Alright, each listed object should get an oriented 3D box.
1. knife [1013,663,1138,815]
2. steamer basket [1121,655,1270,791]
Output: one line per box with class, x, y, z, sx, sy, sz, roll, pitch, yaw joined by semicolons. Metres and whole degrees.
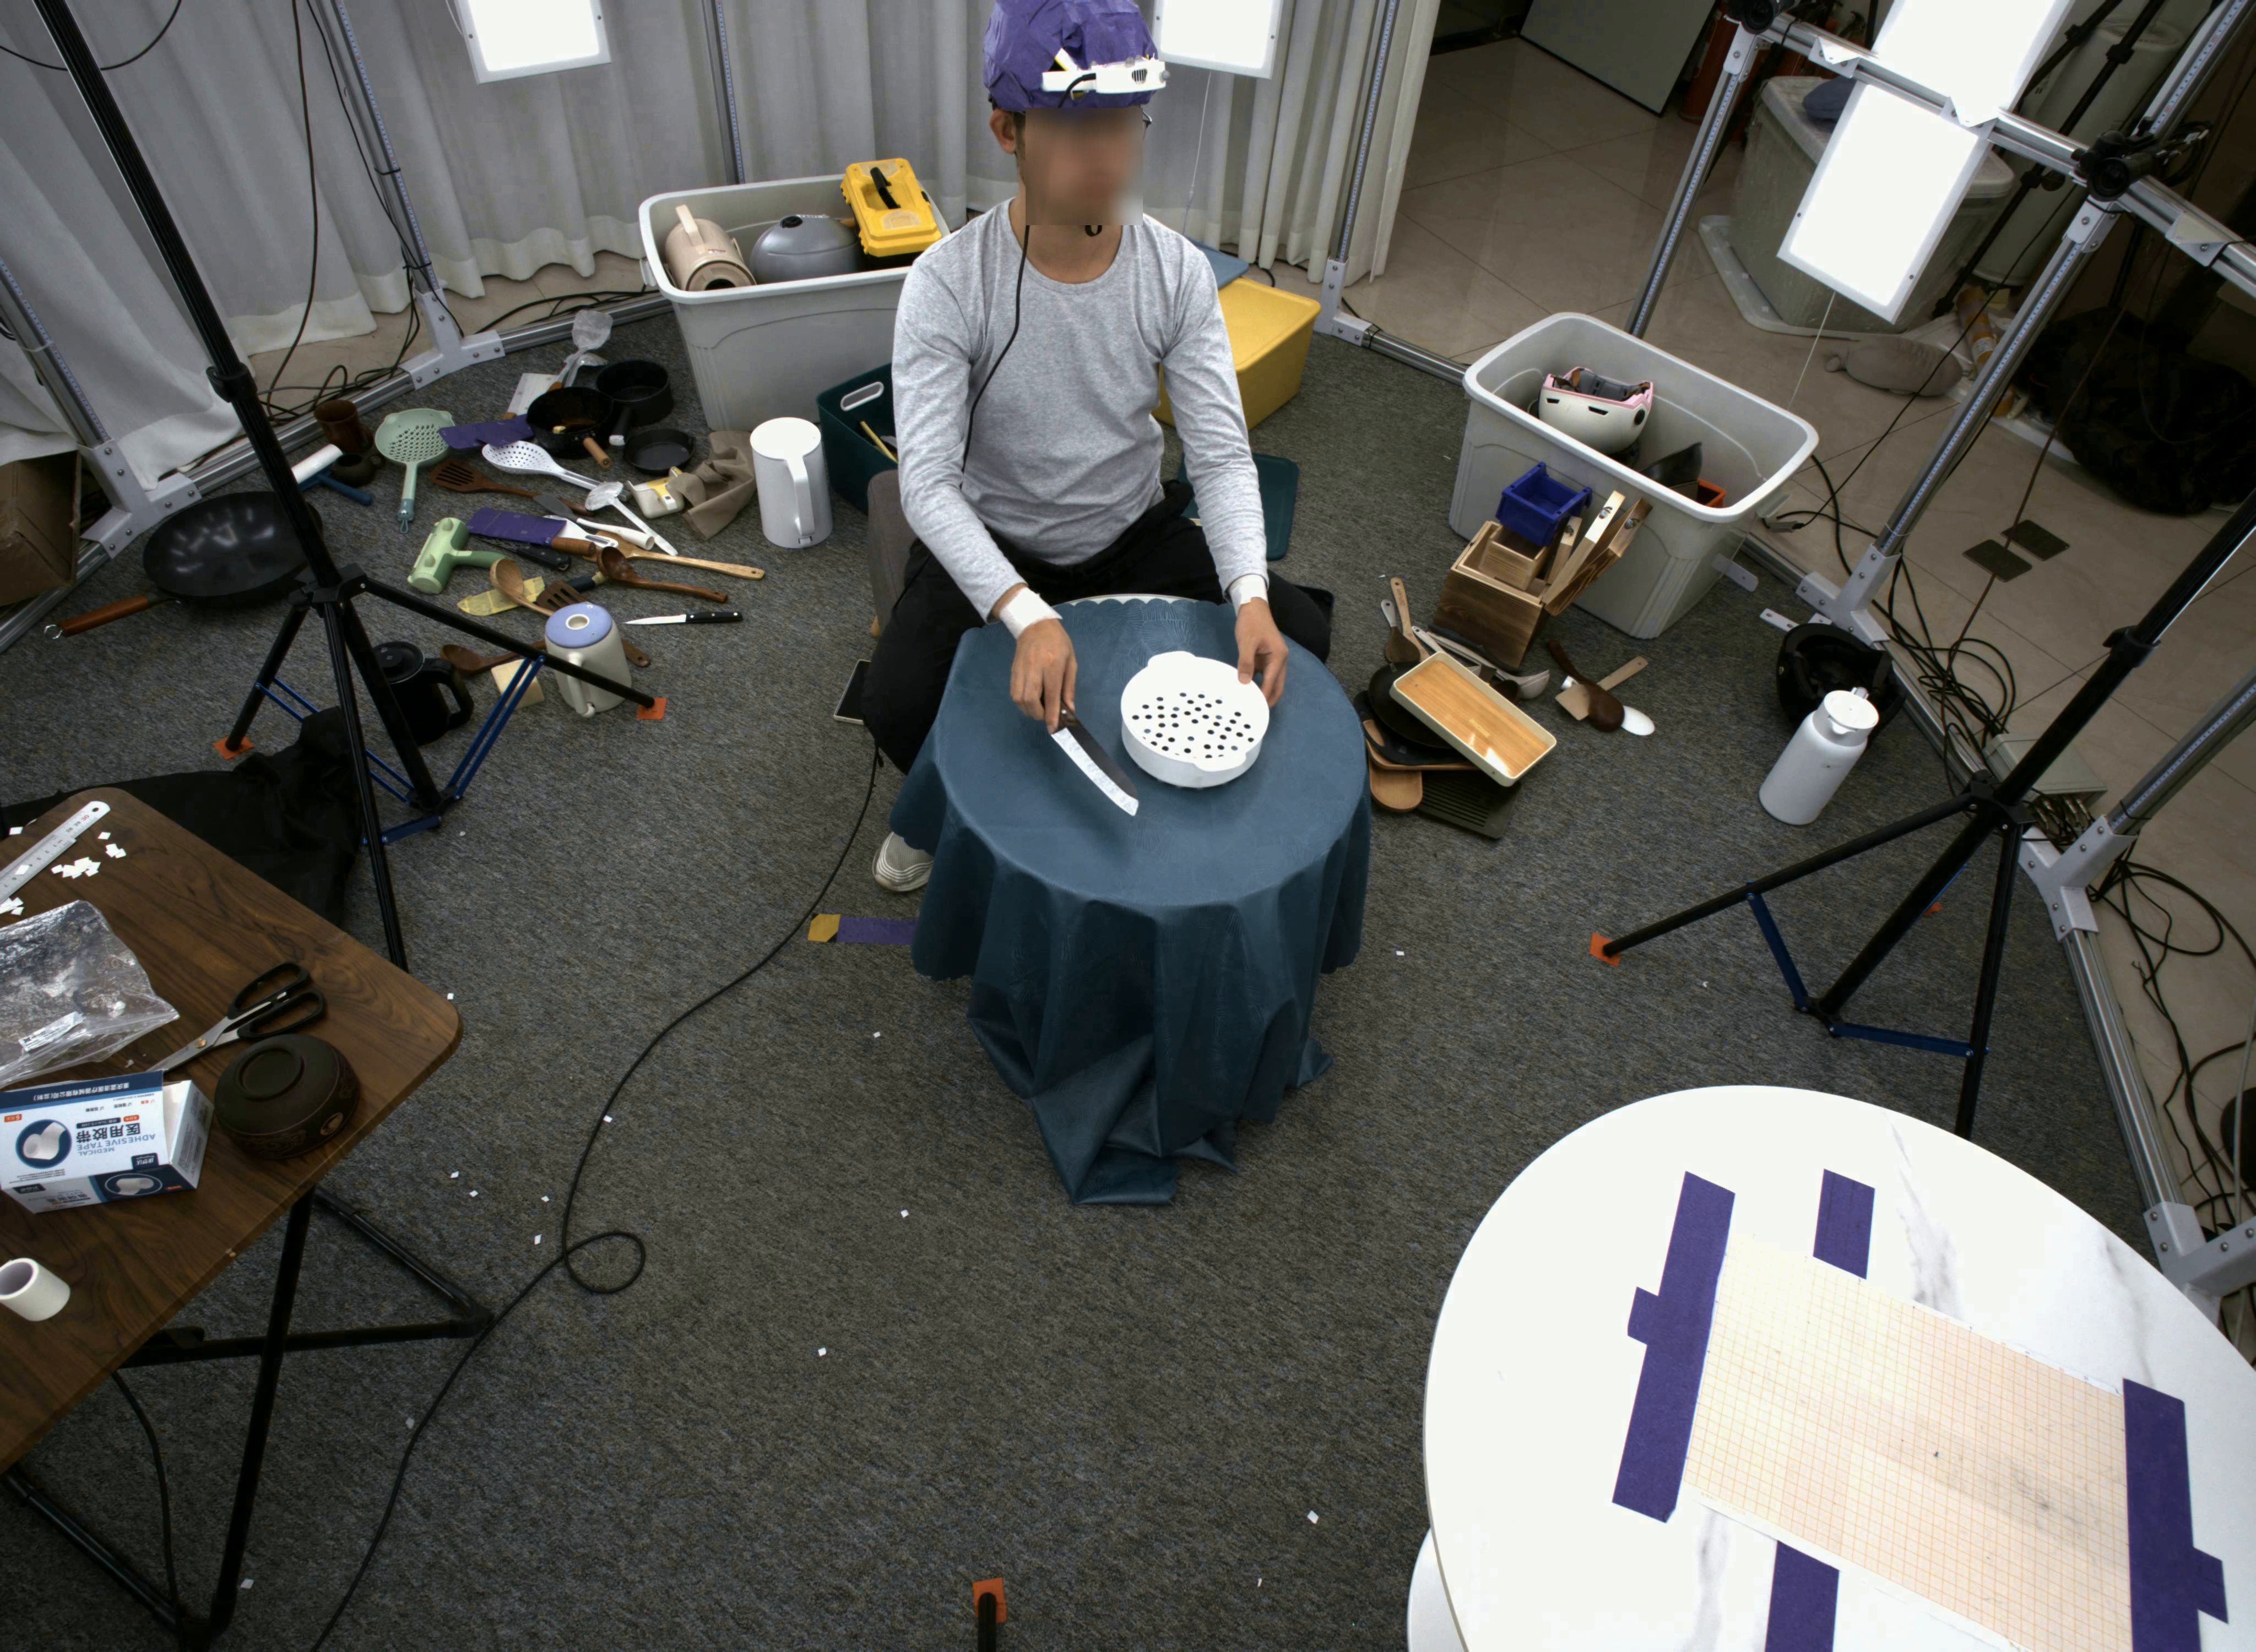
knife;-0.070;-0.116;1.680;0.050;0.019;0.295;-28;59;-18
steamer basket;0.090;-0.137;1.749;0.202;0.067;0.236;-11;50;-14
